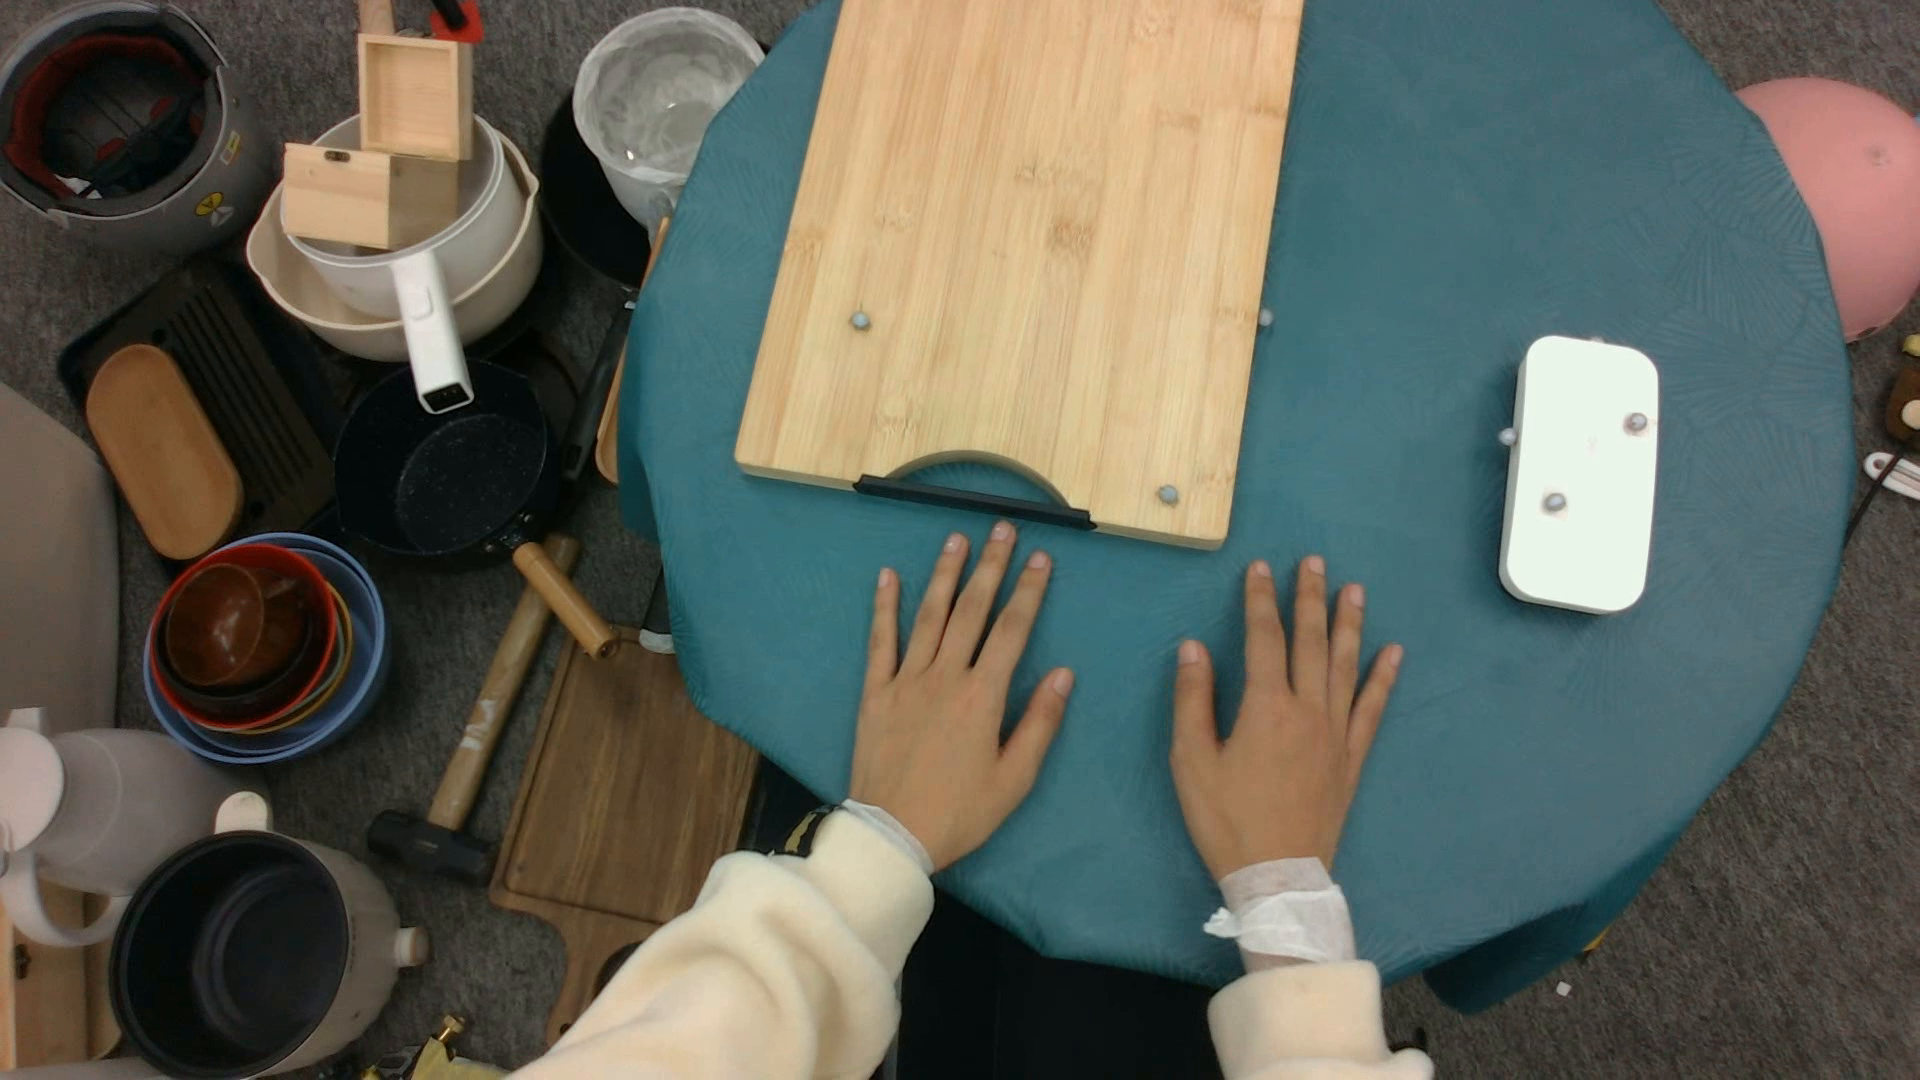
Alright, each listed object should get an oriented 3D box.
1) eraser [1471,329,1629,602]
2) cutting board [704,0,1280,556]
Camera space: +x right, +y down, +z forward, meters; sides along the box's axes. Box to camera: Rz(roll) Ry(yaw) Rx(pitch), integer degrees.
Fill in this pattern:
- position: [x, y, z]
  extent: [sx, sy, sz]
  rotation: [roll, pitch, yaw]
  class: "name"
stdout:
- position: [0.278, -0.036, 0.652]
  extent: [0.063, 0.034, 0.131]
  rotation: [12, 73, 4]
  class: "eraser"
- position: [0.027, -0.175, 0.708]
  extent: [0.250, 0.023, 0.349]
  rotation: [8, 73, 4]
  class: "cutting board"
